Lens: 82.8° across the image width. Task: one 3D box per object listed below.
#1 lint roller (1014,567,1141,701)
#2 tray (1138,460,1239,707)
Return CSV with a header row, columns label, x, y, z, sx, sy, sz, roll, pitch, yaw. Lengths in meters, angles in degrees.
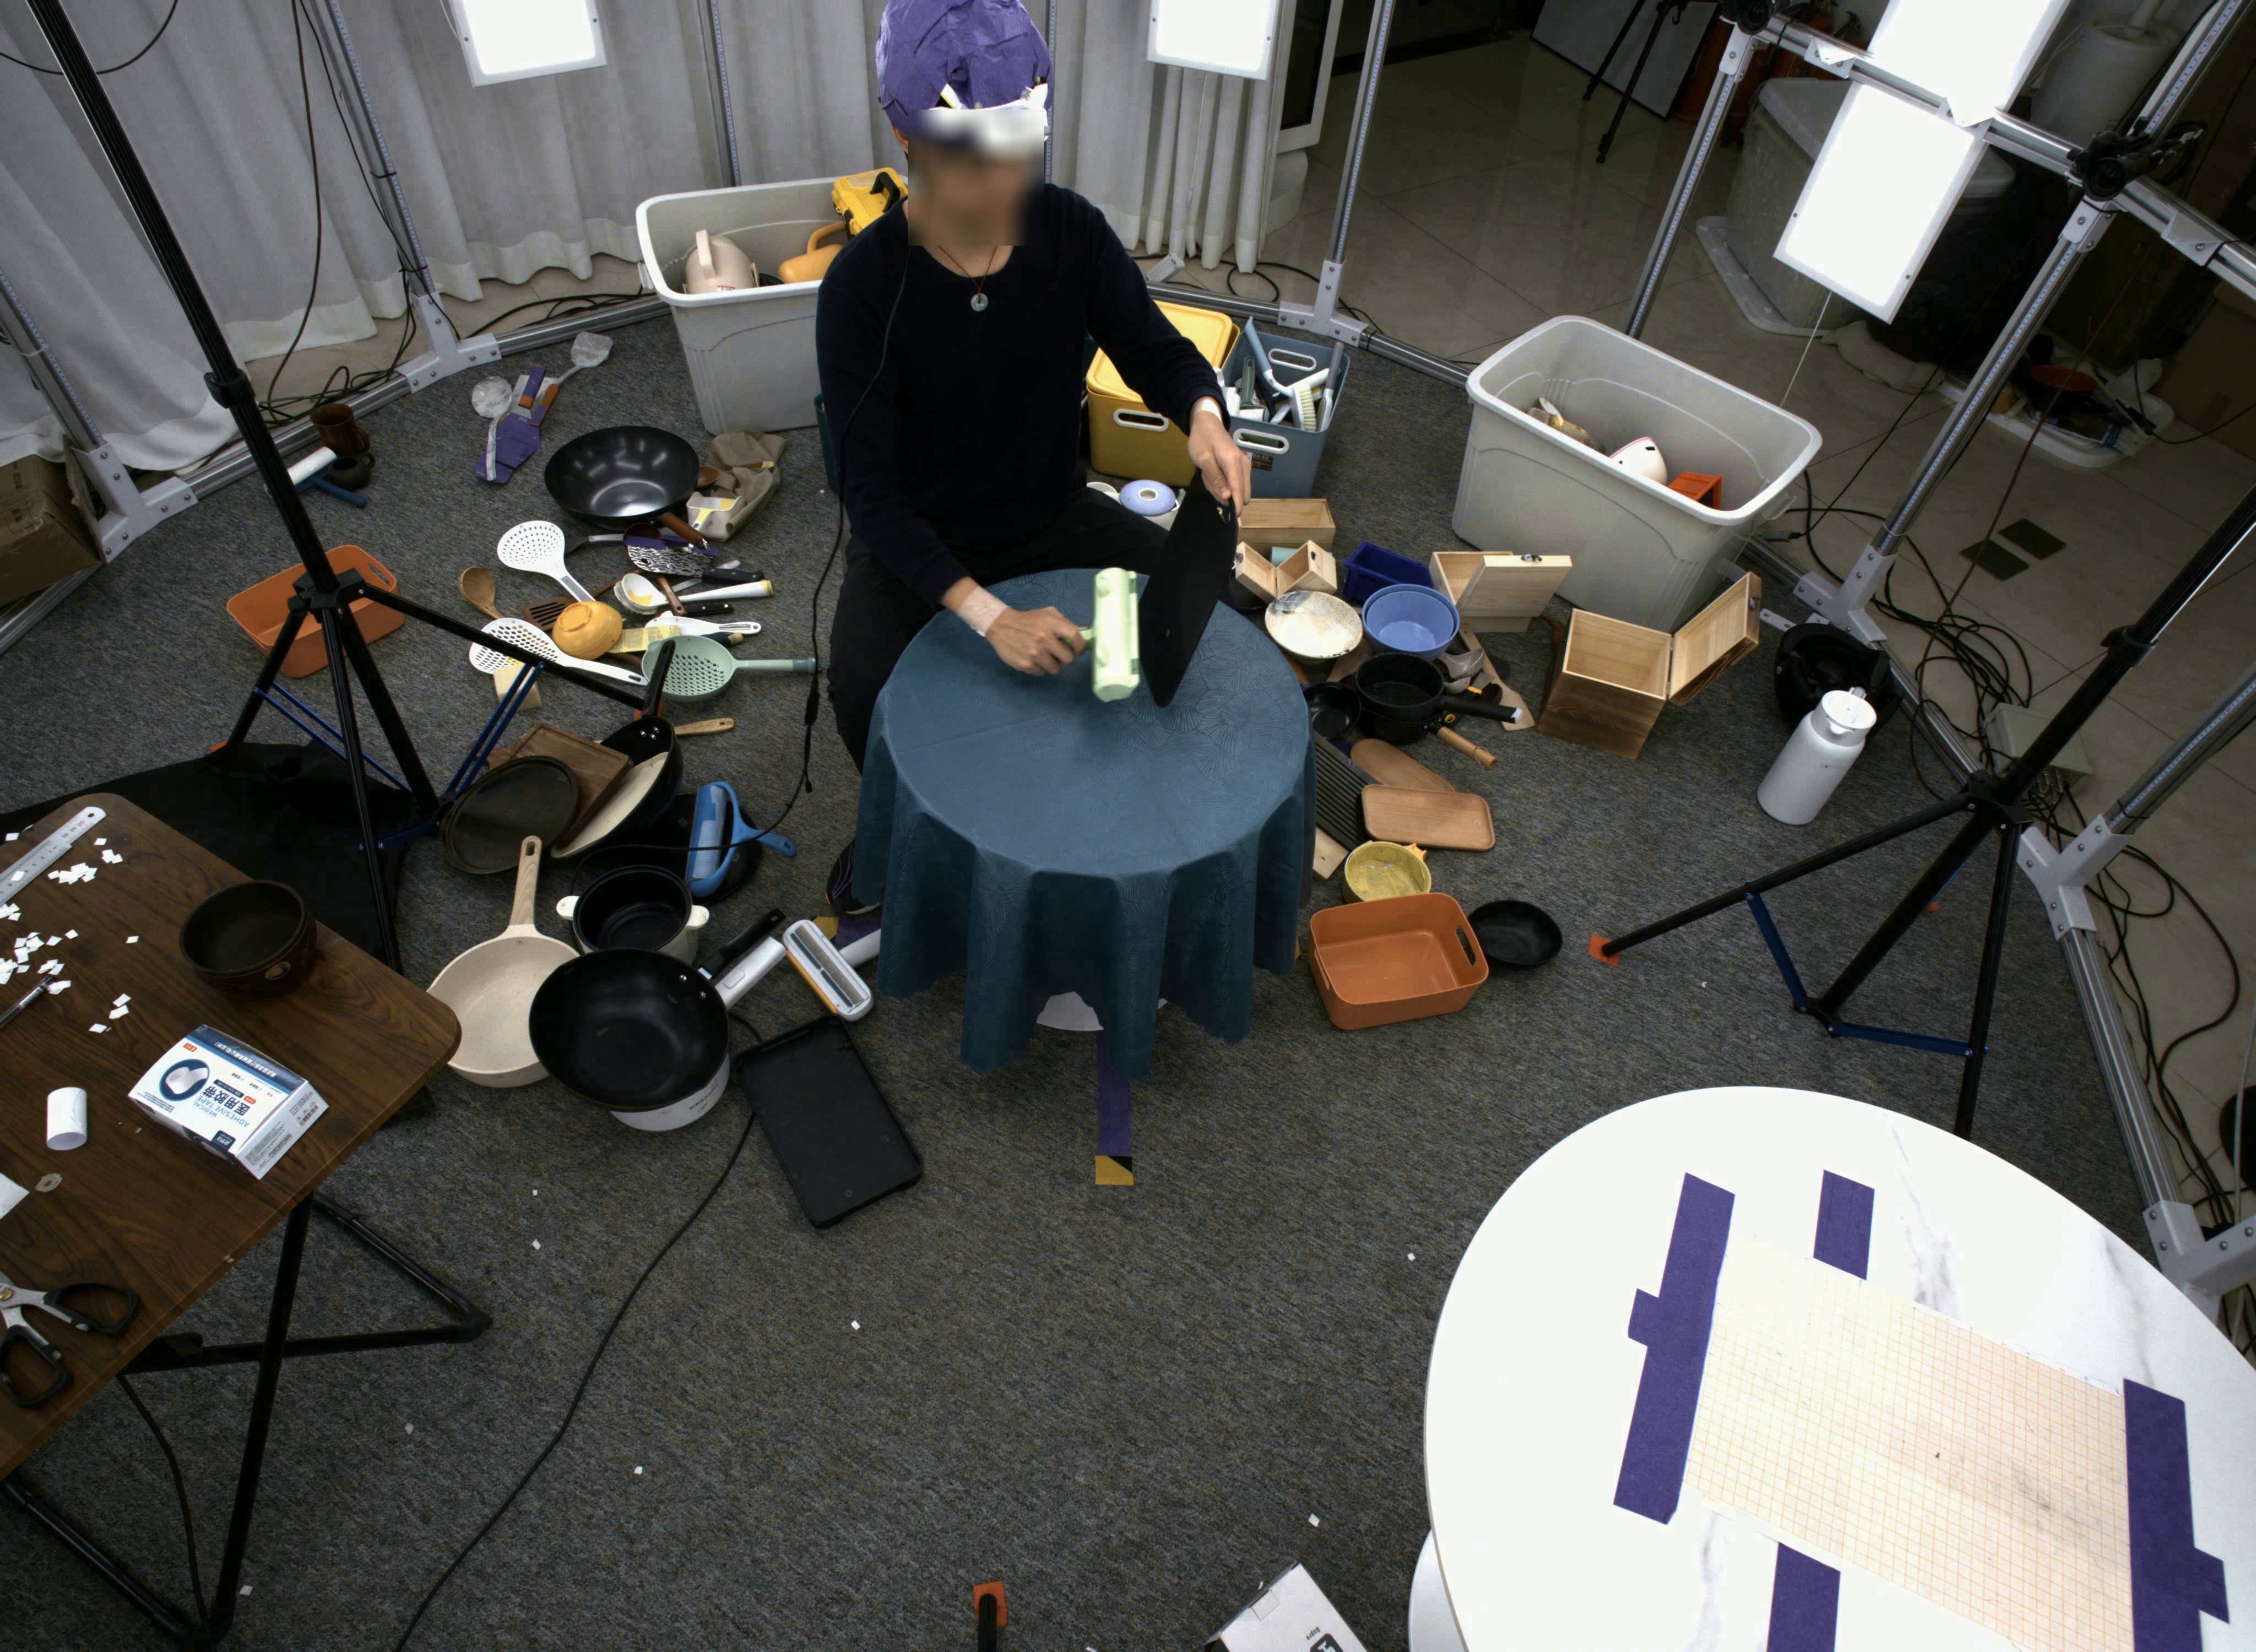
label,x,y,z,sx,sy,sz,roll,pitch,yaw
lint roller,-0.075,-0.266,1.781,0.183,0.080,0.203,-5,60,7
tray,0.078,-0.333,1.758,0.010,0.319,0.216,5,44,-22
